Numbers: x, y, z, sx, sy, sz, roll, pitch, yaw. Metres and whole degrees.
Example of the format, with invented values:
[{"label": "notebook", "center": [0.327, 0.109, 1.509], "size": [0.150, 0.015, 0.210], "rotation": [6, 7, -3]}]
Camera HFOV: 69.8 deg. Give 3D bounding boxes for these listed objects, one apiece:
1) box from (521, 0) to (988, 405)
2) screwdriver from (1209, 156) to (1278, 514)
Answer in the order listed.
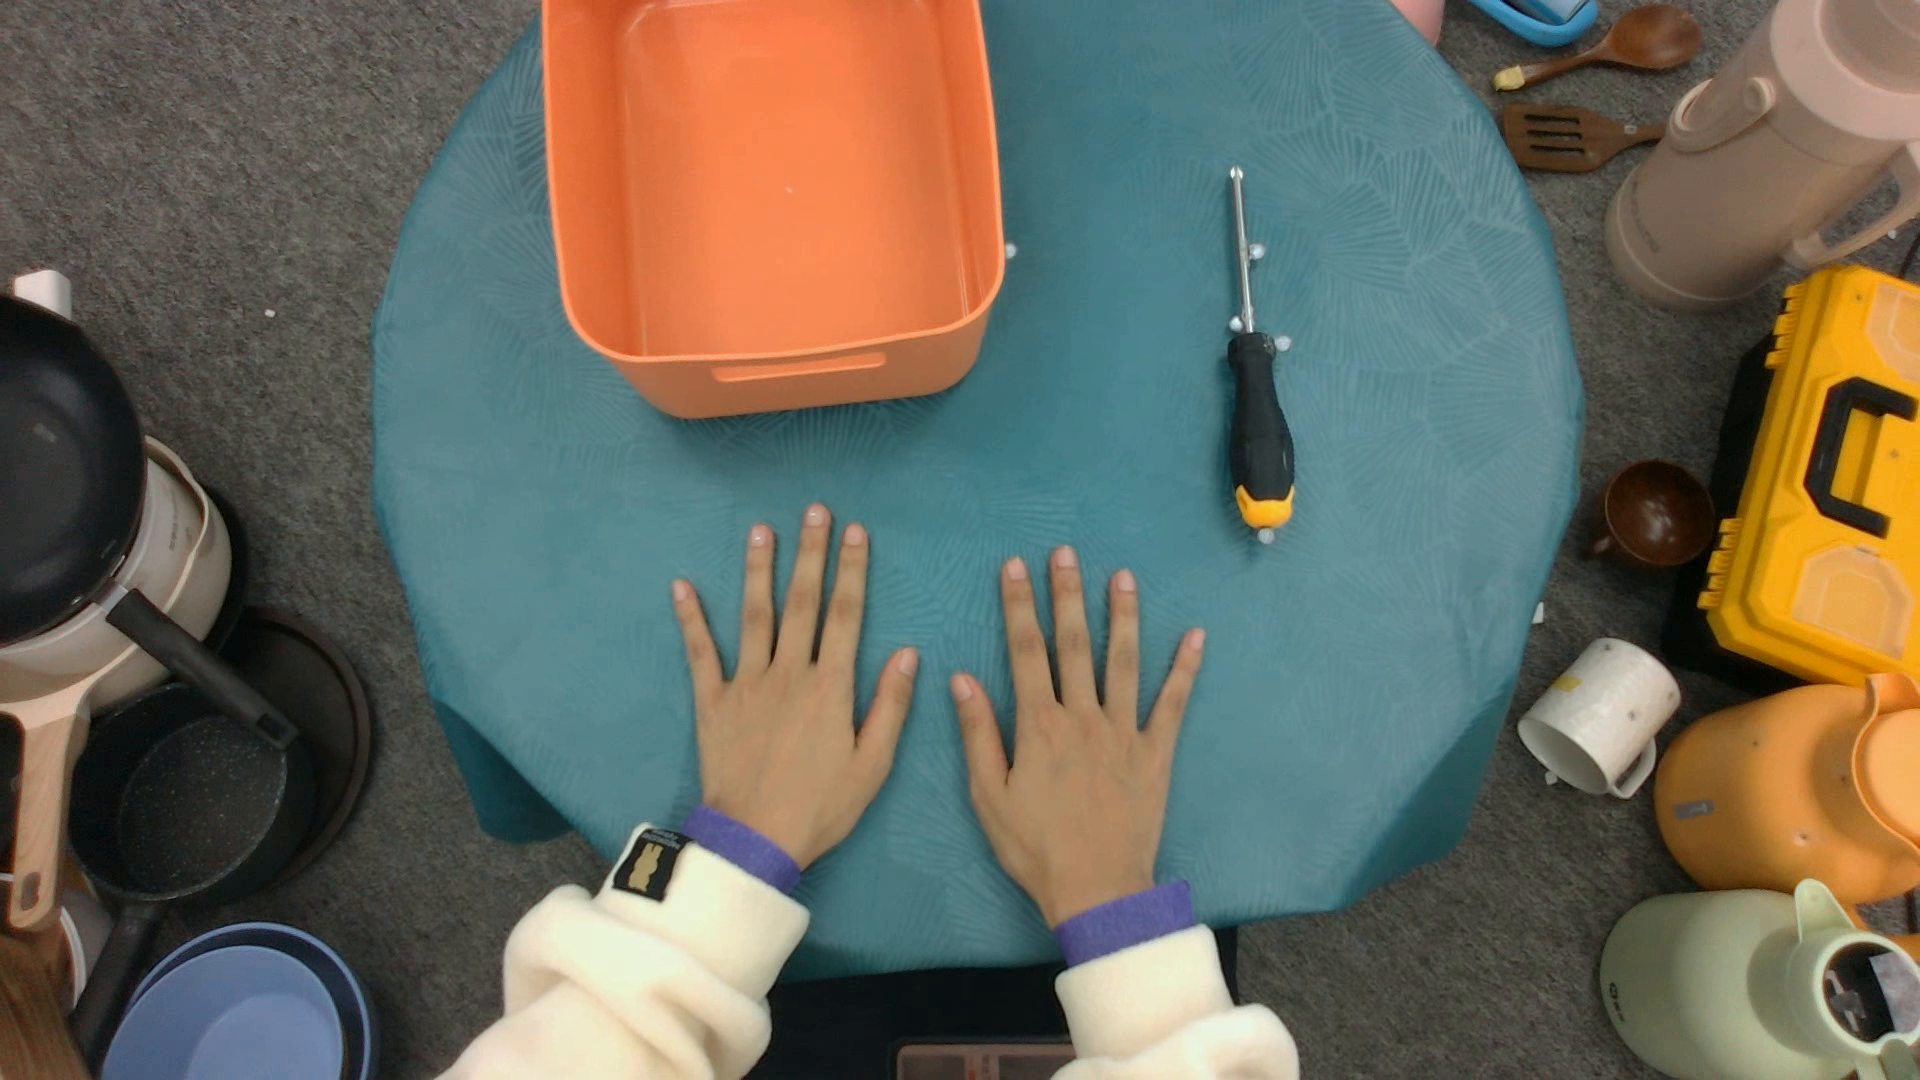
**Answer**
[{"label": "box", "center": [-0.097, -0.200, 0.664], "size": [0.199, 0.102, 0.274], "rotation": [-7, 73, -4]}, {"label": "screwdriver", "center": [0.139, -0.106, 0.685], "size": [0.031, 0.031, 0.197], "rotation": [1, 69, 0]}]
